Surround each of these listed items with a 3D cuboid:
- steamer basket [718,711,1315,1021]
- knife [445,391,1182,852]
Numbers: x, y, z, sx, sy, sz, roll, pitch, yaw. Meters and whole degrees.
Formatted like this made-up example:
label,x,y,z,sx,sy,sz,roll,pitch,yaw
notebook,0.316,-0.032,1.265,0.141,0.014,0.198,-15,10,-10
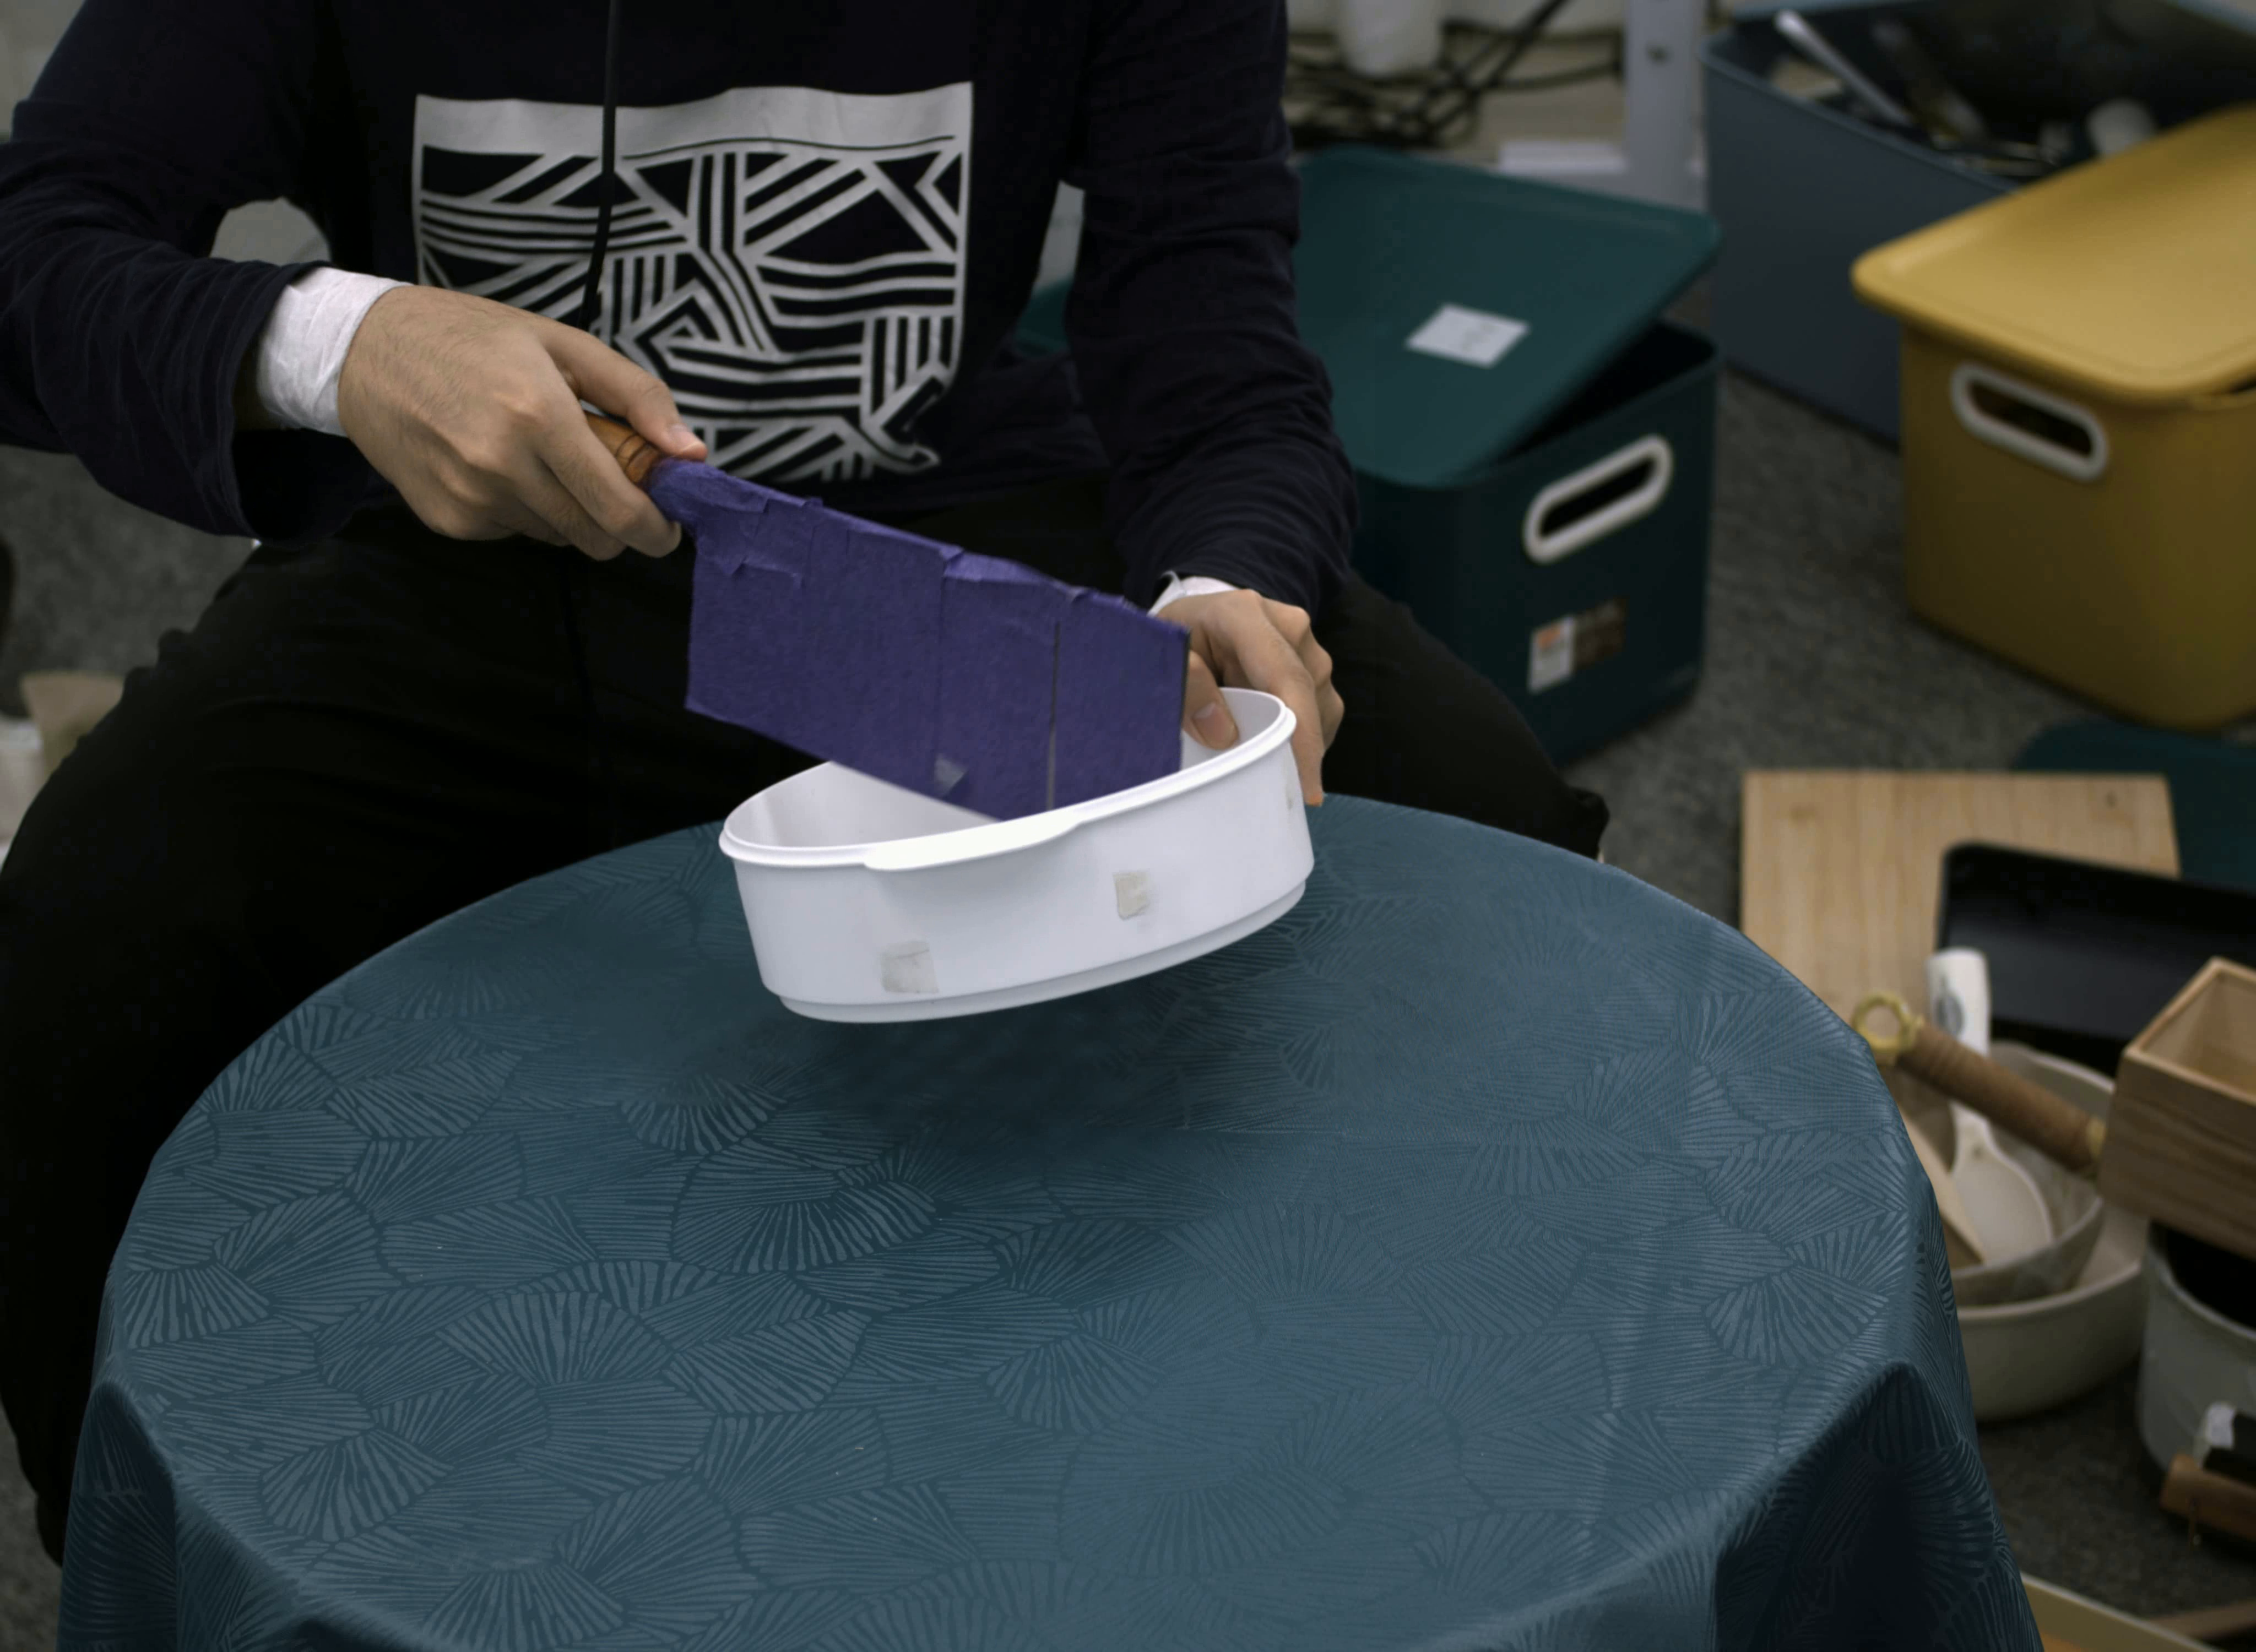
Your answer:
label,x,y,z,sx,sy,sz,roll,pitch,yaw
steamer basket,-0.035,0.014,1.910,0.200,0.069,0.232,-9,9,8
knife,-0.112,-0.066,1.908,0.314,0.103,0.032,20,22,33
